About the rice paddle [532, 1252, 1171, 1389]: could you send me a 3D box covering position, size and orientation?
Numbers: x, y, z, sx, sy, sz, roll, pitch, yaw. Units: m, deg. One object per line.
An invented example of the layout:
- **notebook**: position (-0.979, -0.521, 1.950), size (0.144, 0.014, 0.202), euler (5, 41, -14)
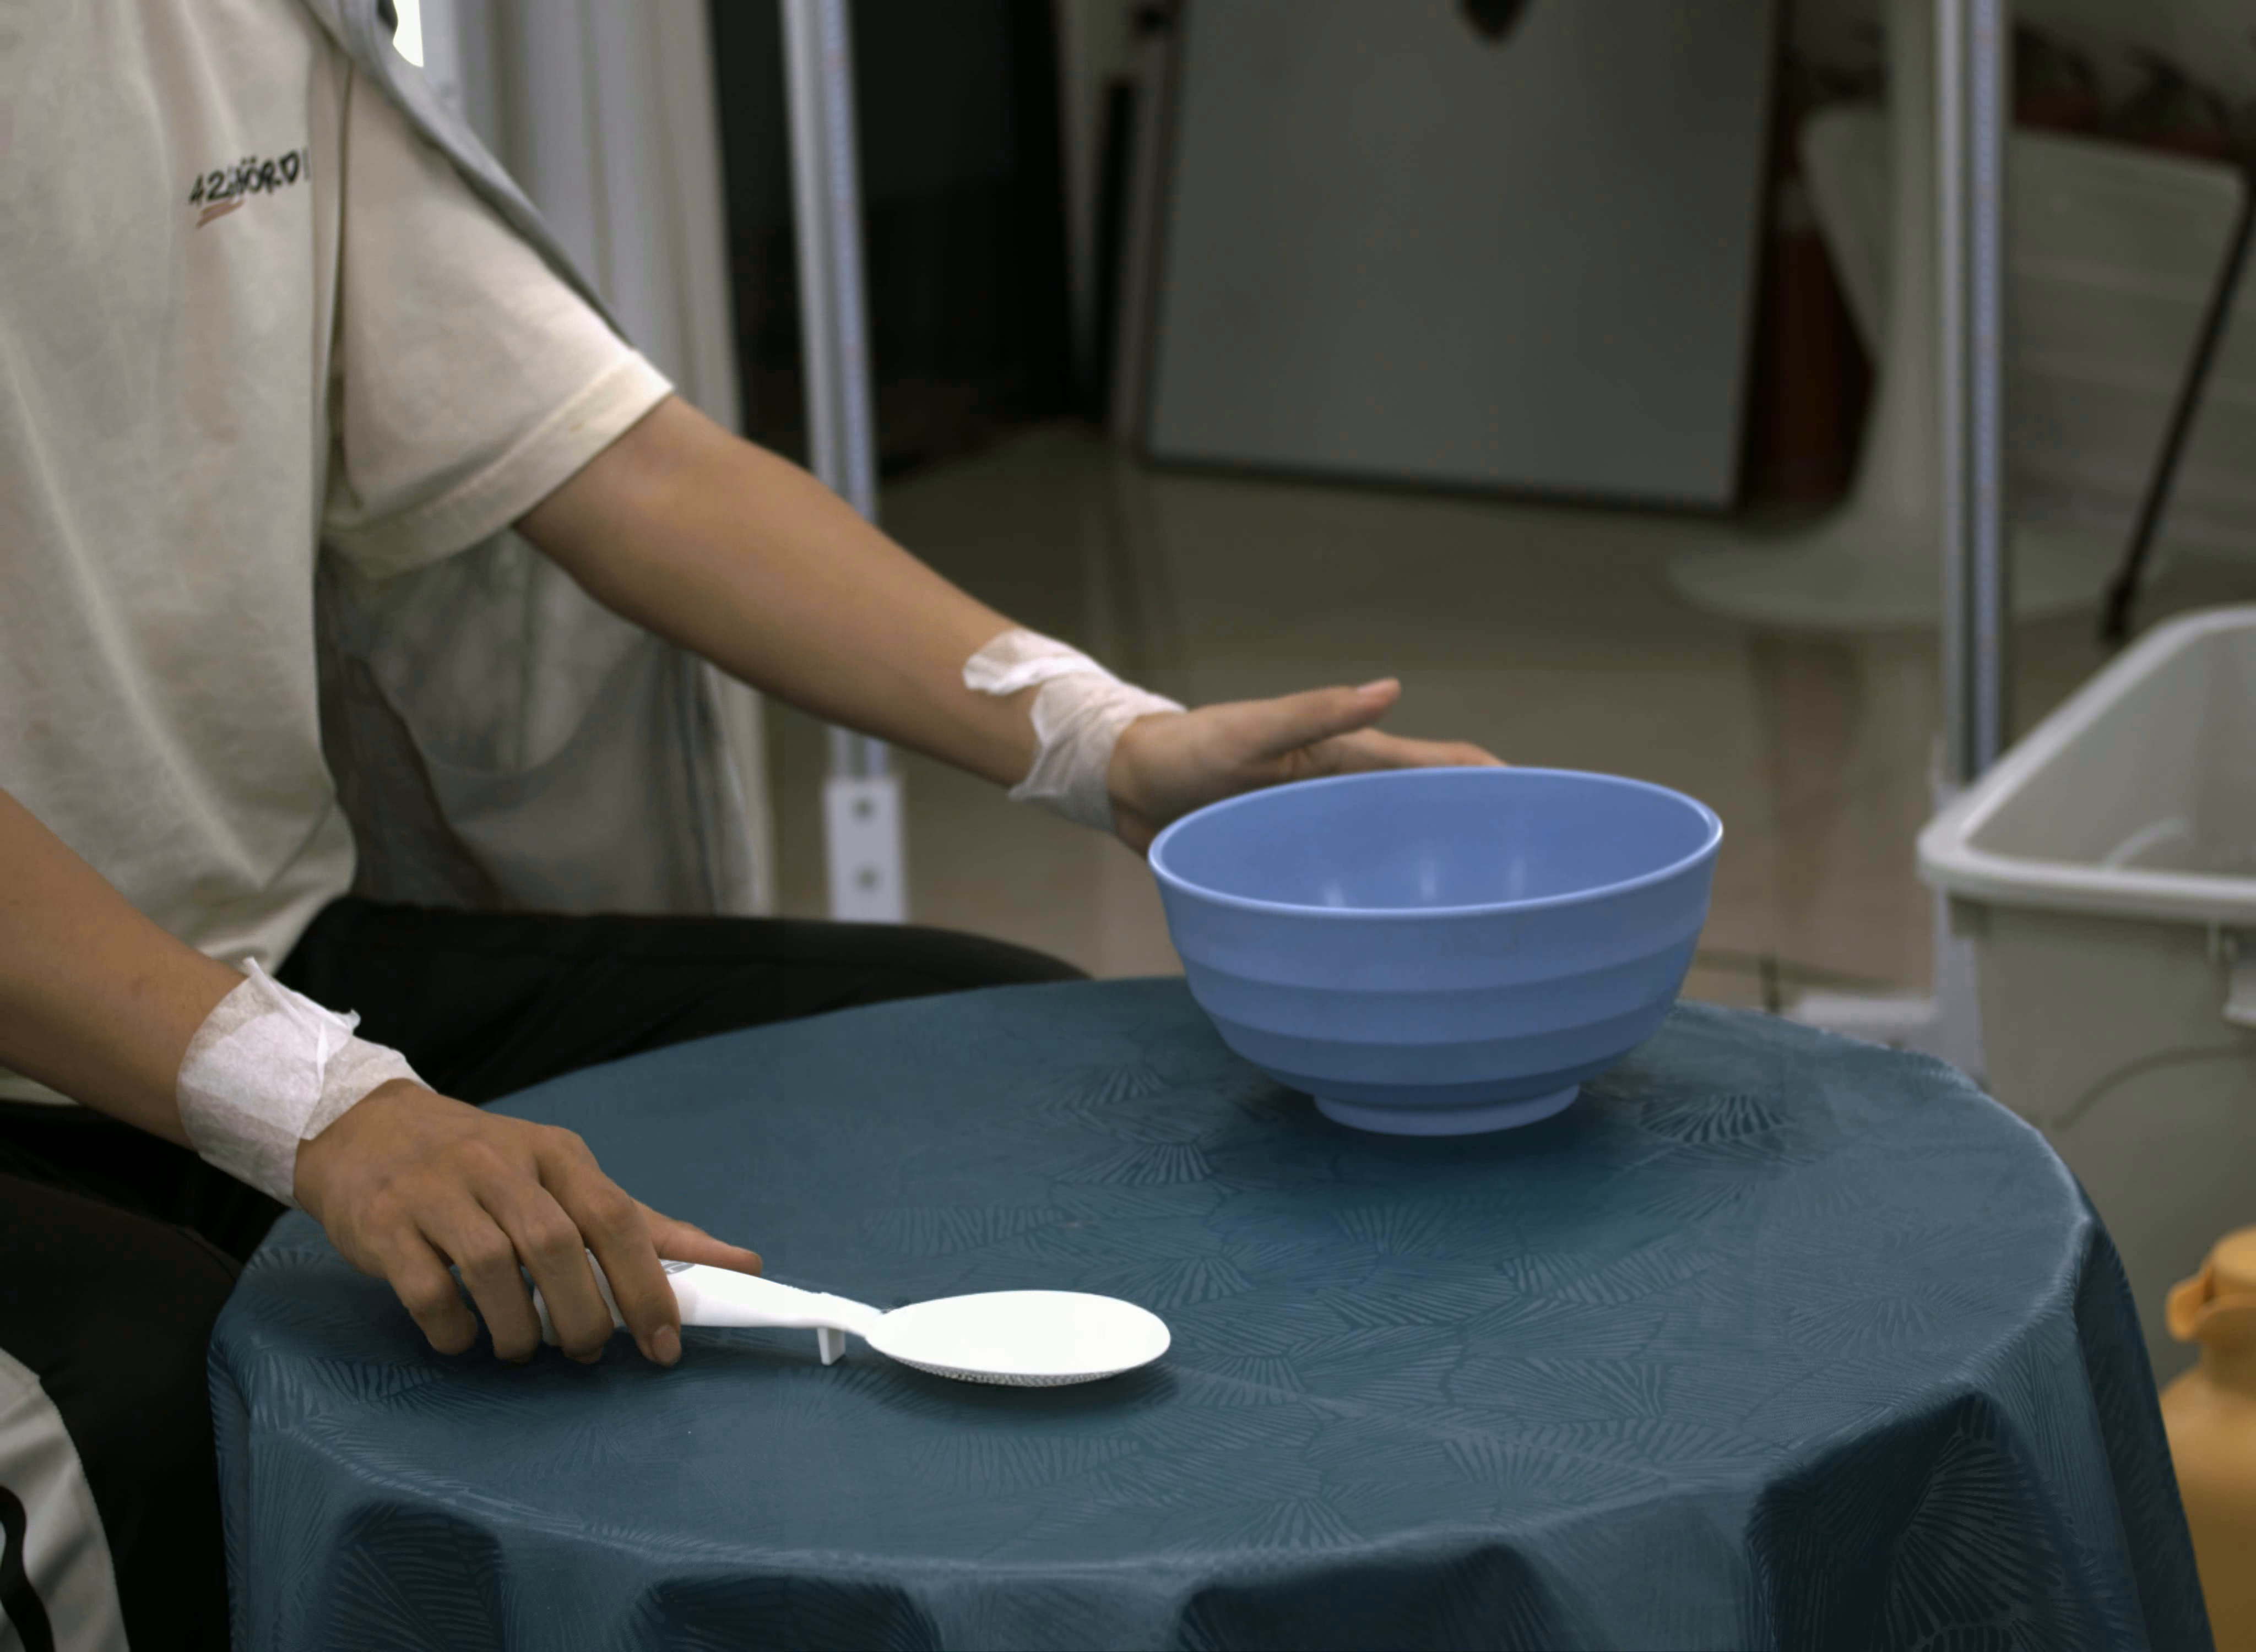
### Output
- **rice paddle**: position (-0.083, 0.149, 1.625), size (0.205, 0.030, 0.068), euler (2, 17, 23)

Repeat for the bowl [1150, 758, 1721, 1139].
- **bowl**: position (0.106, 0.047, 1.840), size (0.194, 0.096, 0.197), euler (-4, 15, 0)
